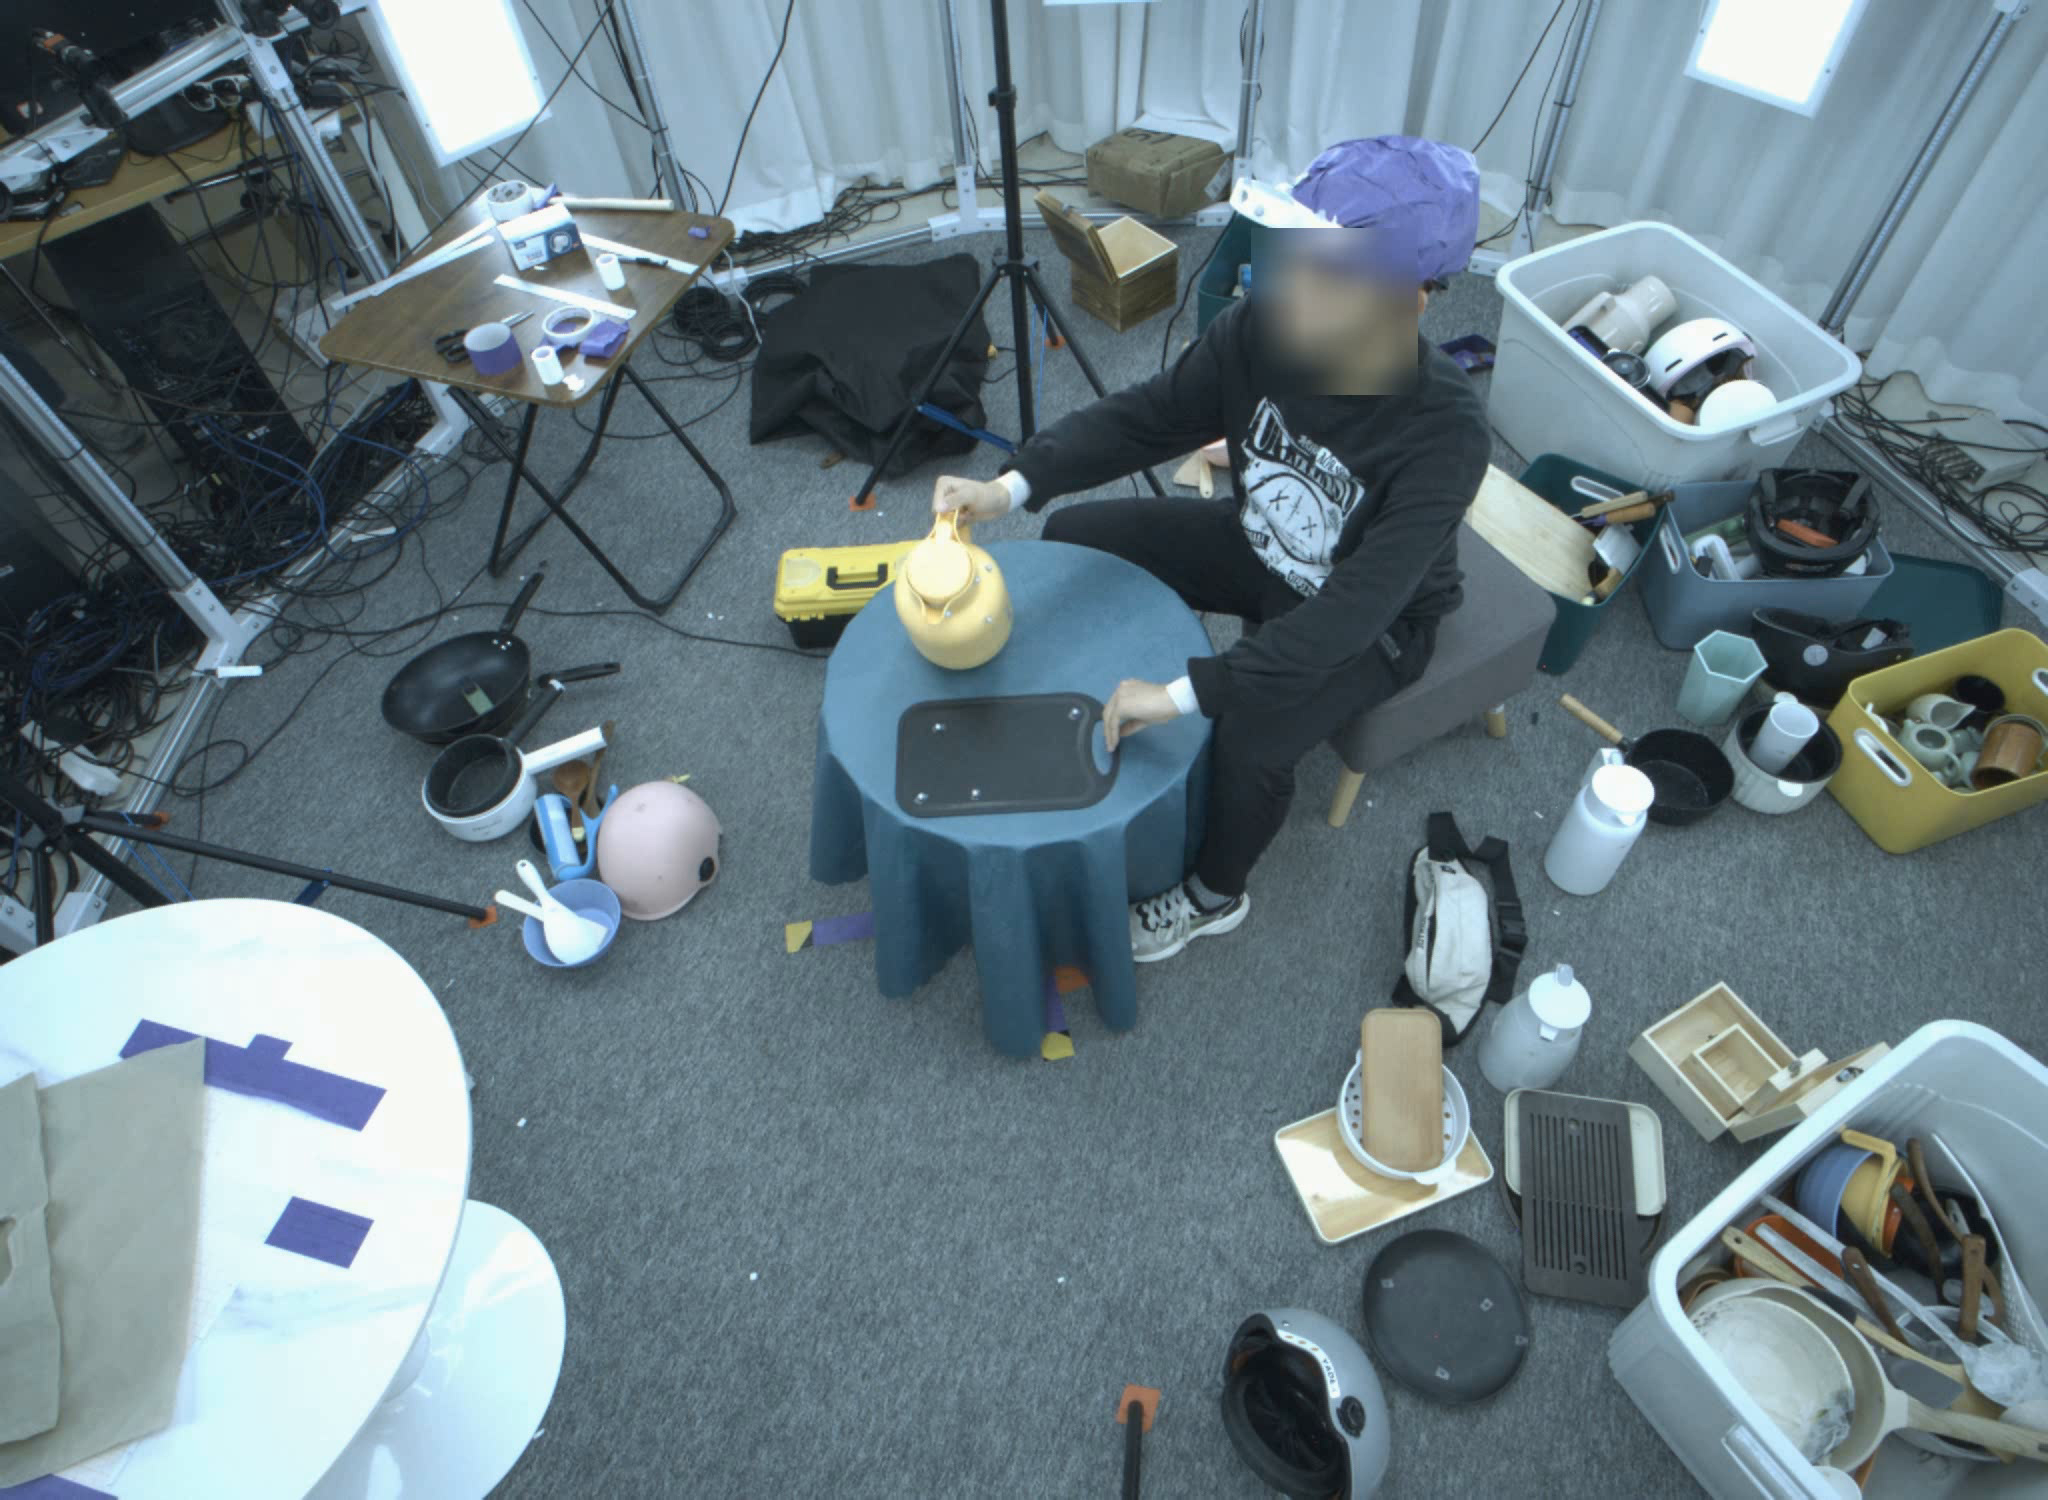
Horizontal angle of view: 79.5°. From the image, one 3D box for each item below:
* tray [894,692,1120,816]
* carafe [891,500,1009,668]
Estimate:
[{"bbox_3d":[-0.025,0.001,1.779,0.325,0.010,0.209,-2,55,0],"label":"tray"},{"bbox_3d":[-0.106,-0.241,1.774,0.163,0.261,0.202,8,79,3],"label":"carafe"}]
